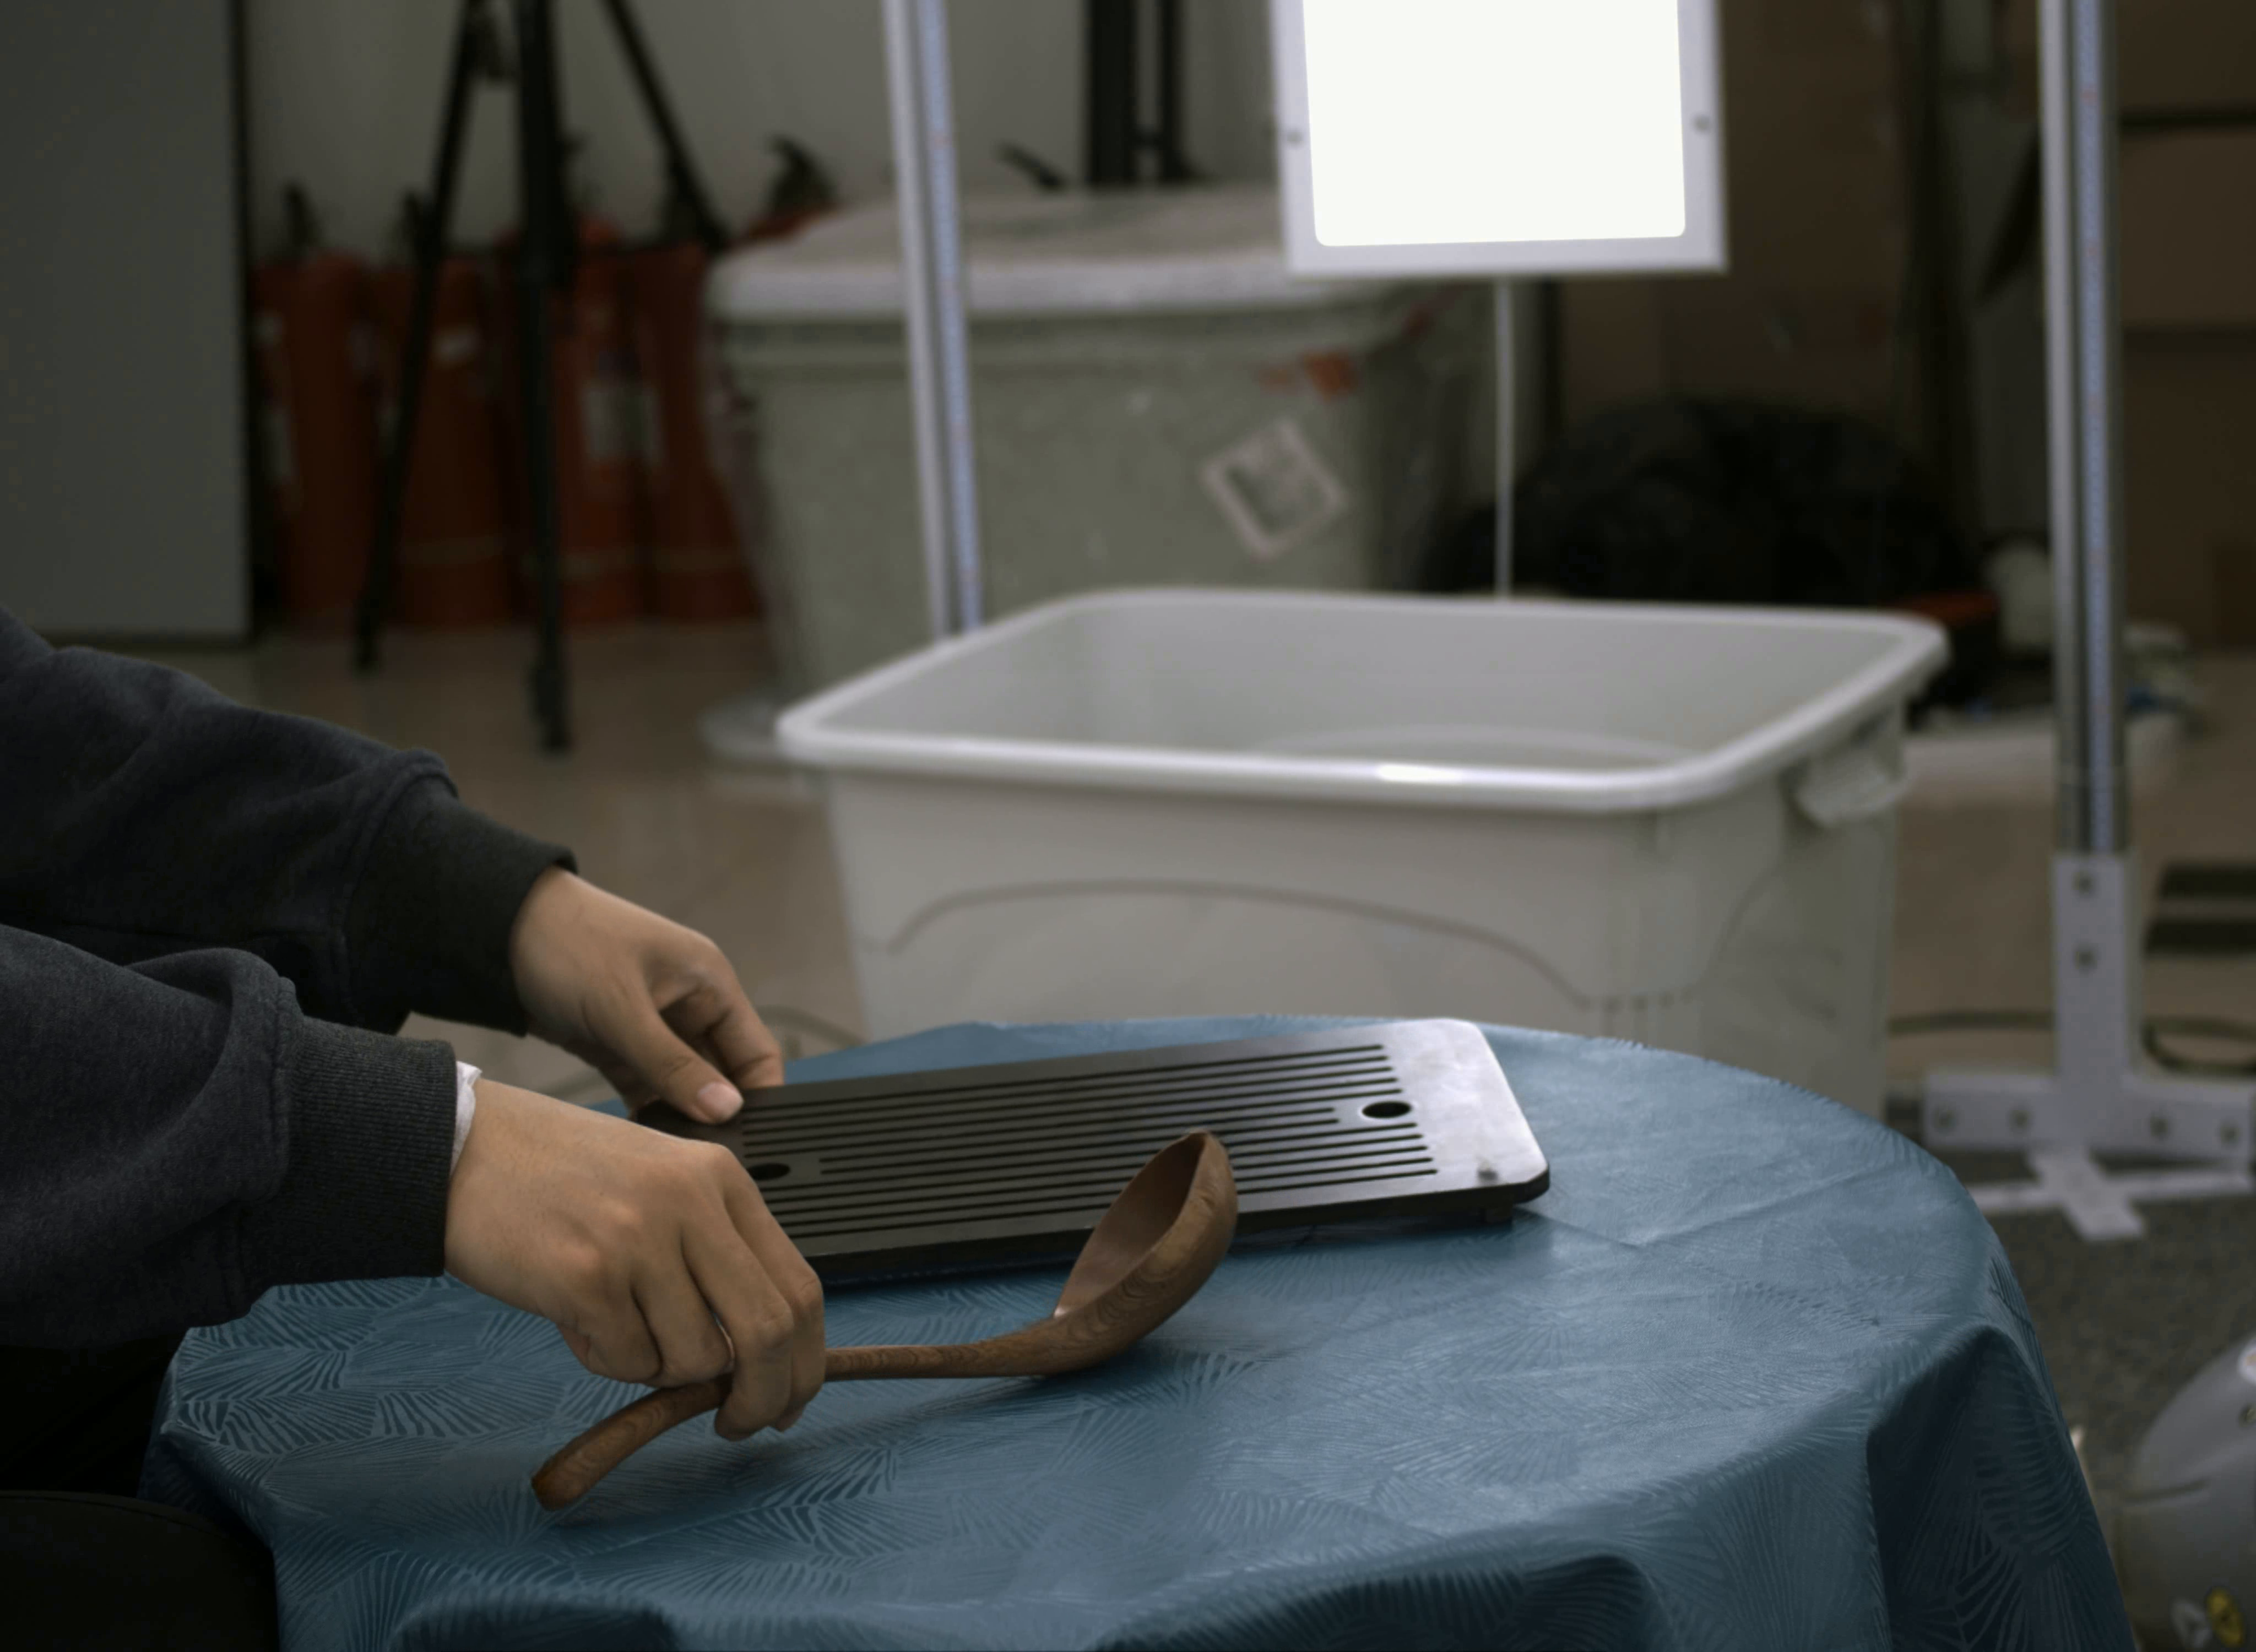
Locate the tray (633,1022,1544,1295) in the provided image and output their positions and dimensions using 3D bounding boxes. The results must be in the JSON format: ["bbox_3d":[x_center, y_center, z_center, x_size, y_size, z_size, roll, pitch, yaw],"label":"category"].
[{"bbox_3d":[-0.018,0.114,1.899,0.304,0.019,0.170,-6,17,-2],"label":"tray"}]

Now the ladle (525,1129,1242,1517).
[{"bbox_3d":[-0.075,0.150,1.690,0.254,0.065,0.078,-12,-13,-29],"label":"ladle"}]
